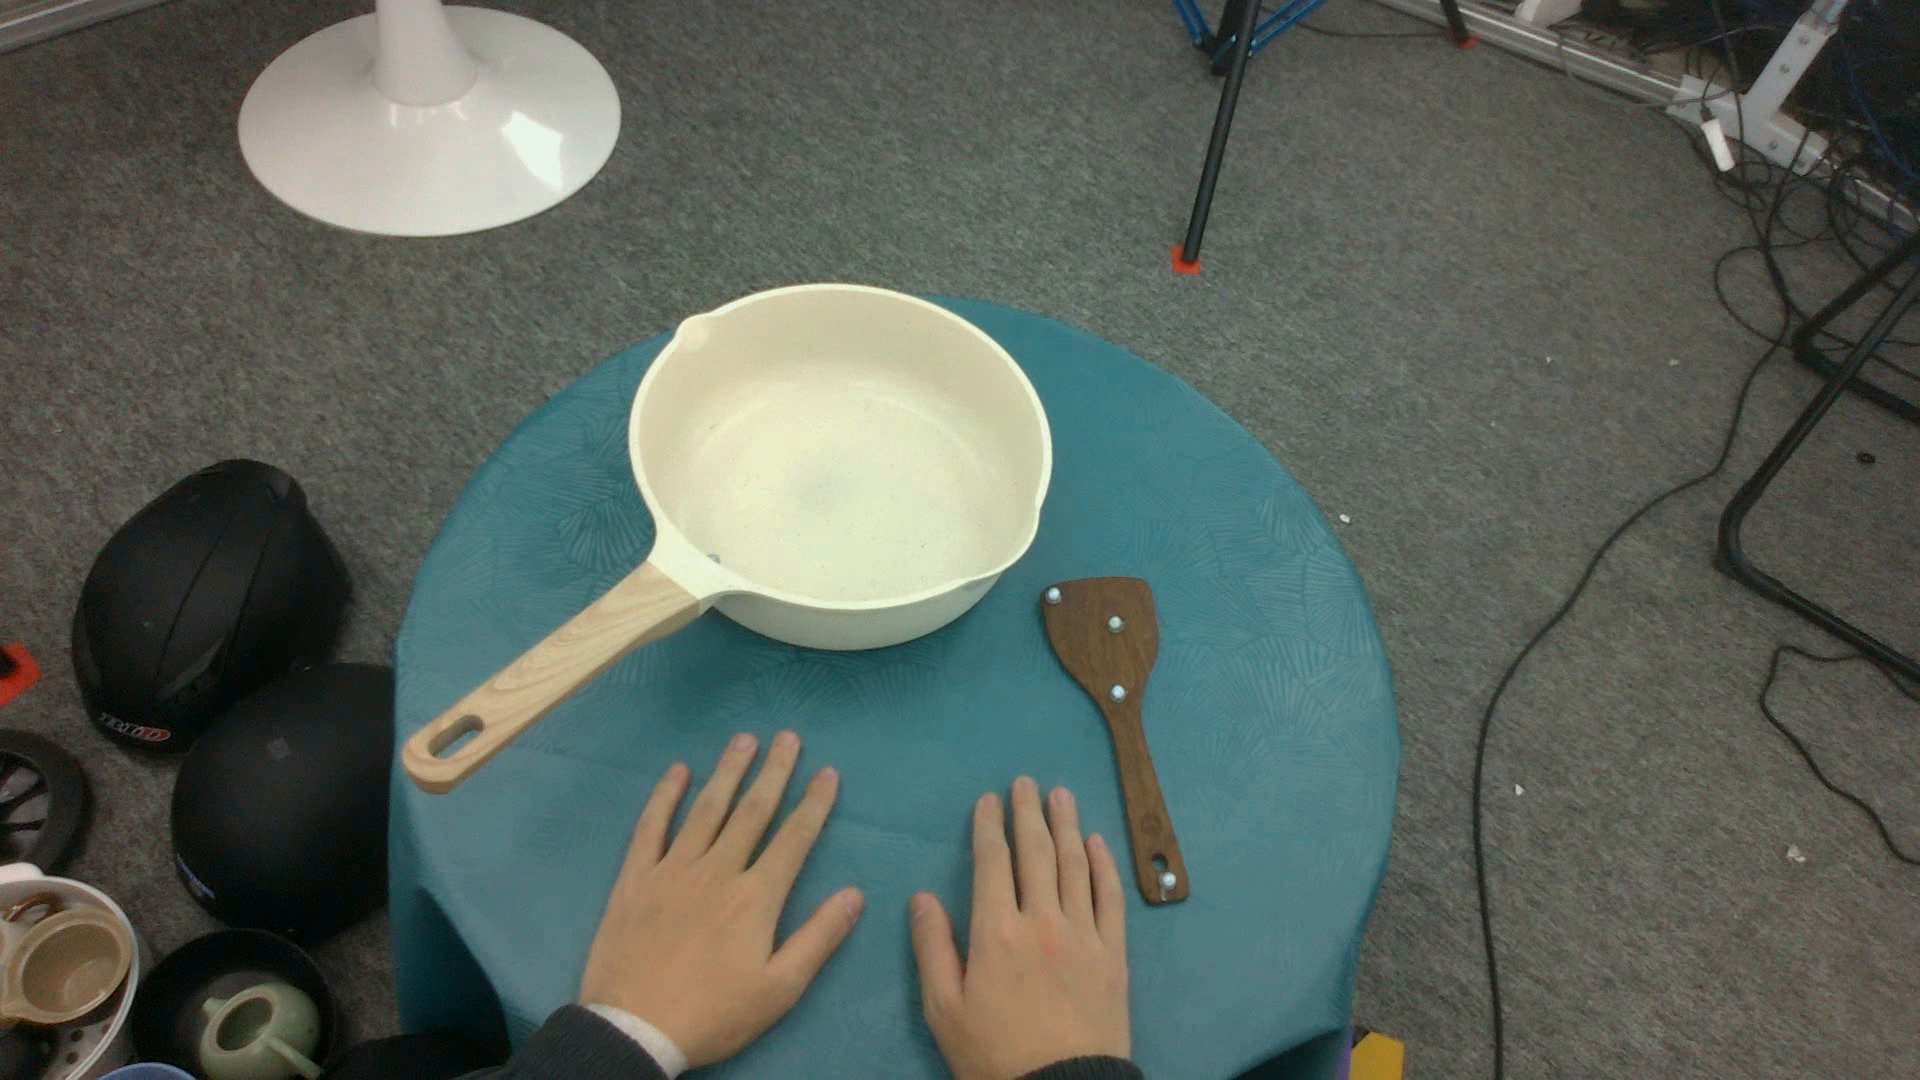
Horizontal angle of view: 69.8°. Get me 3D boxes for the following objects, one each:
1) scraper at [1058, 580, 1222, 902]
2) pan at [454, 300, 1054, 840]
[{"bbox_3d":[0.115,0.115,0.824,0.076,0.011,0.212,-6,55,-9],"label":"scraper"},{"bbox_3d":[-0.122,0.022,0.815,0.263,0.101,0.437,32,58,16],"label":"pan"}]
